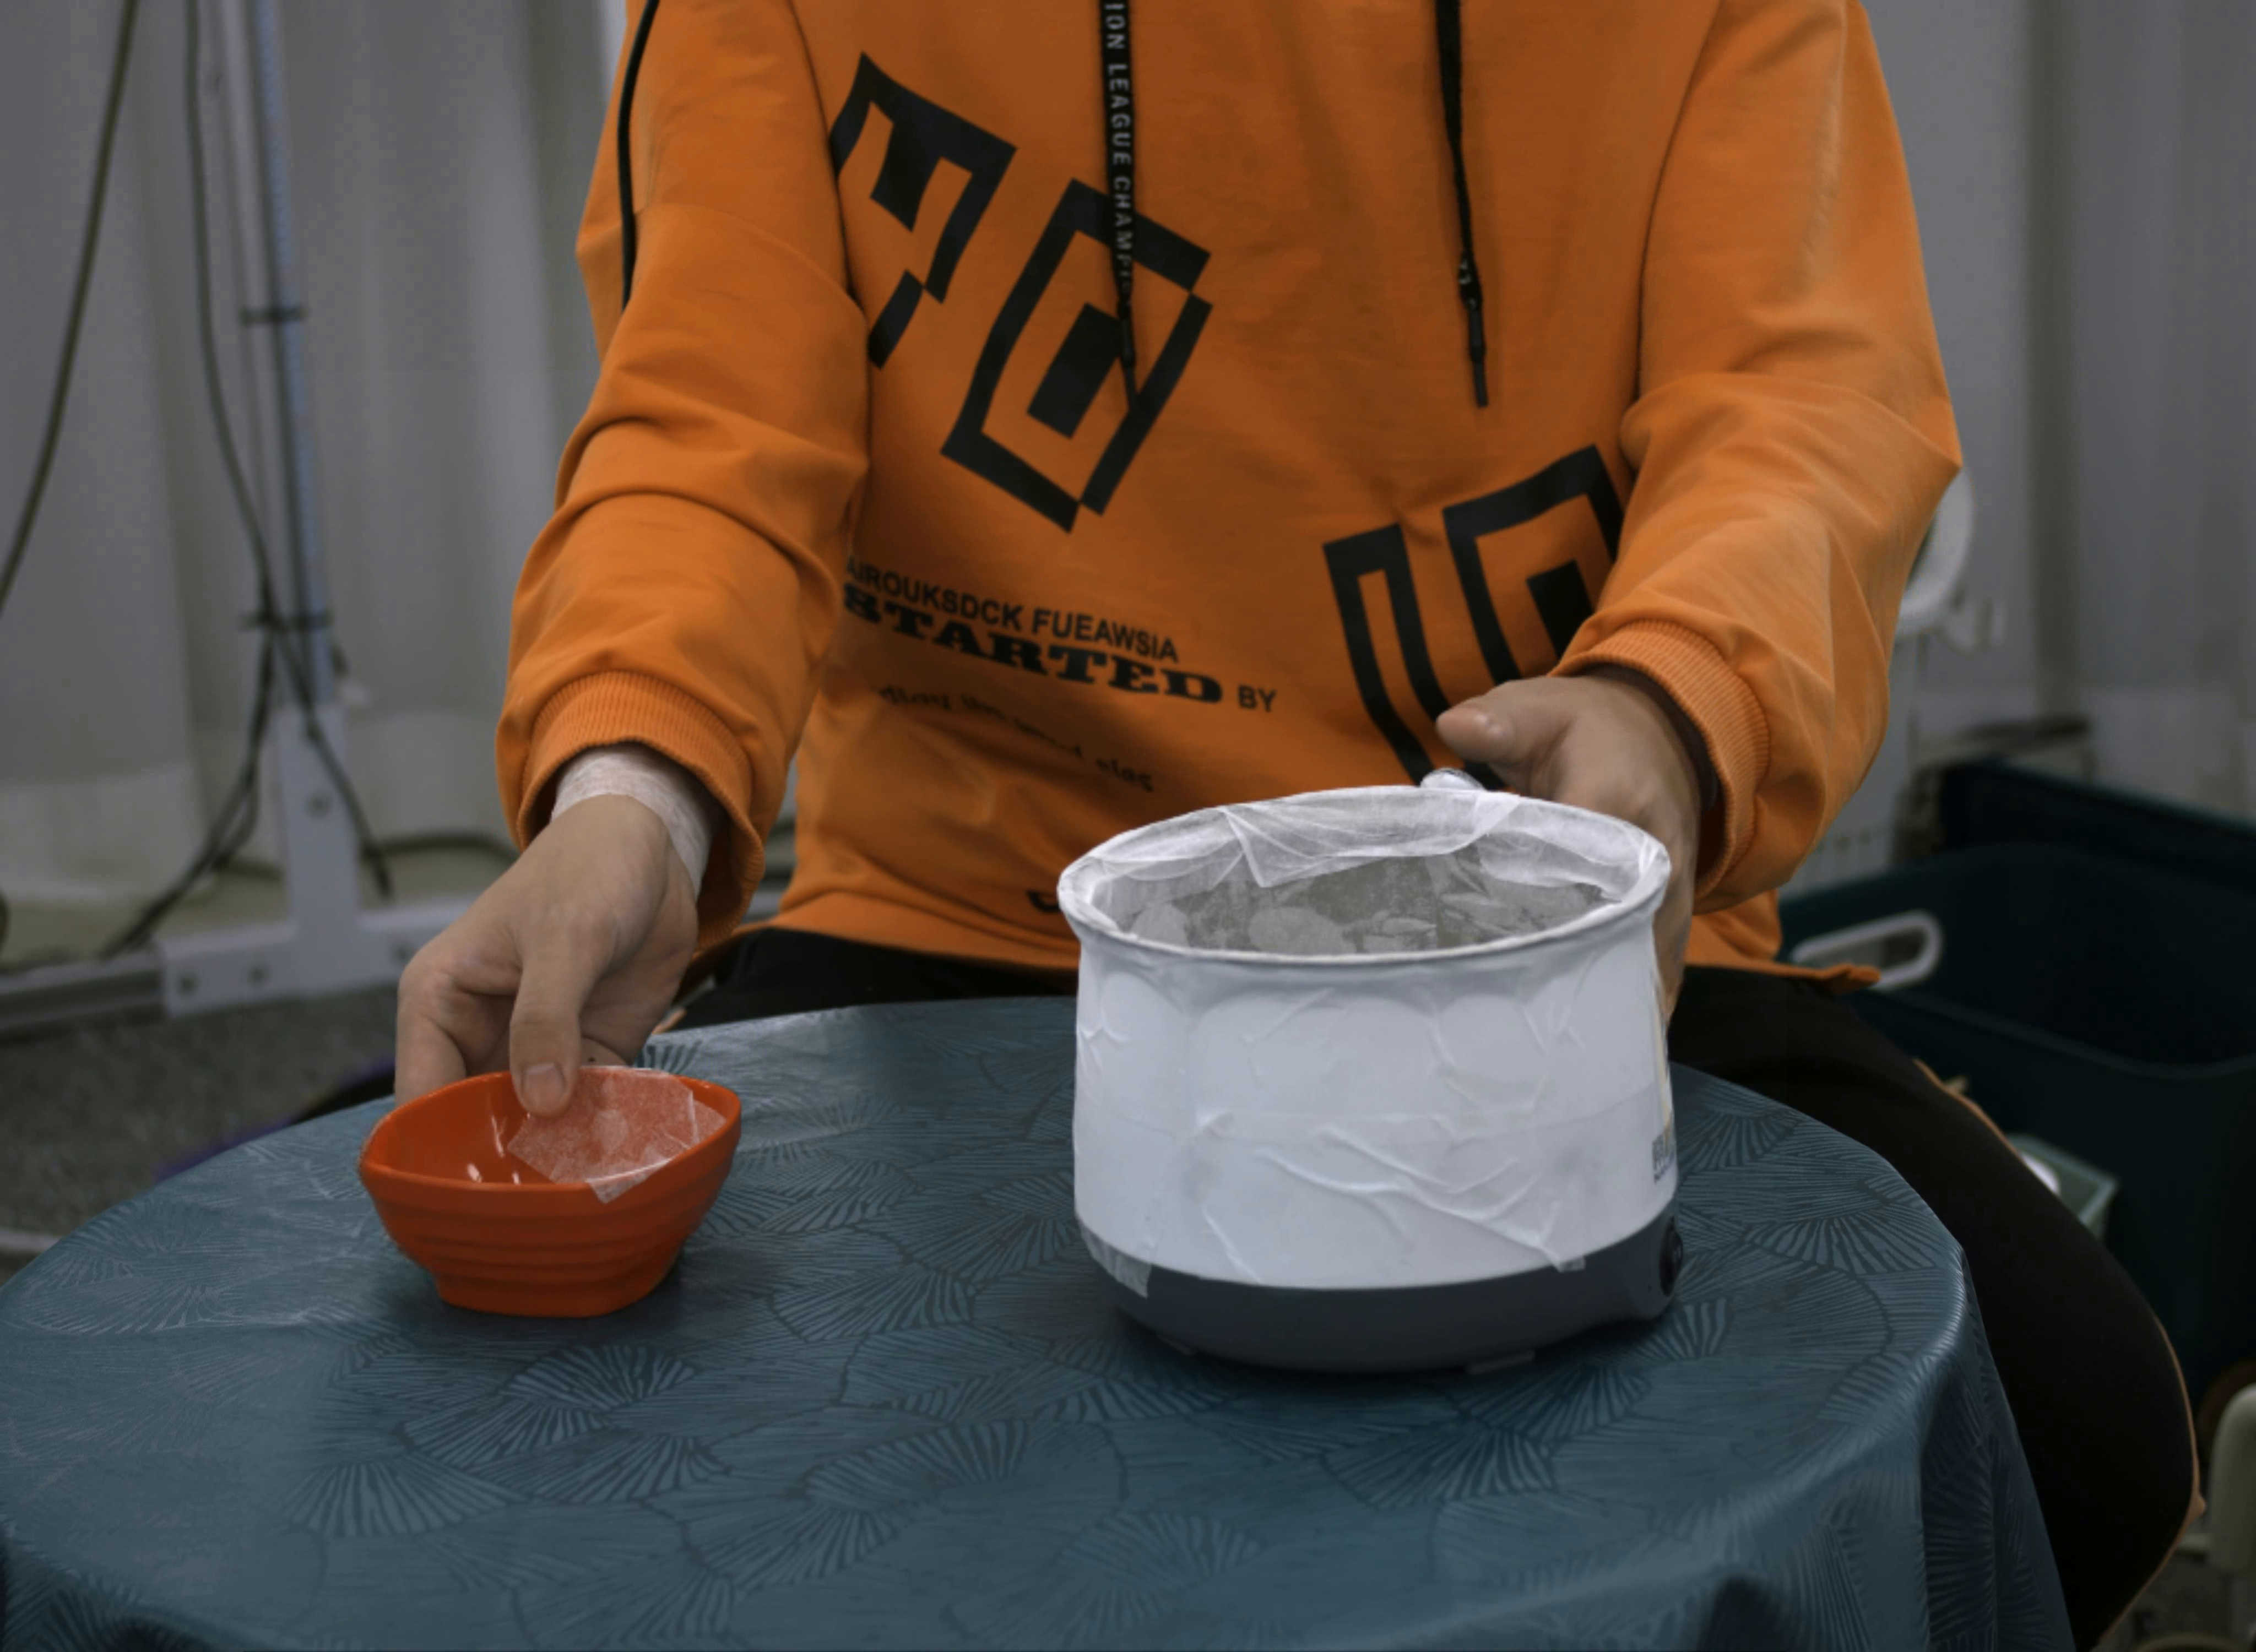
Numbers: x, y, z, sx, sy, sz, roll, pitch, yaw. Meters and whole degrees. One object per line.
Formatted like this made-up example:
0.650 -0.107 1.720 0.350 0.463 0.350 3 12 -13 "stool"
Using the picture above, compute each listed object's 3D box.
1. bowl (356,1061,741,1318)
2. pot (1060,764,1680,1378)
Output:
-0.173 0.113 1.657 0.118 0.051 0.120 -4 16 1 "bowl"
0.079 0.067 1.616 0.178 0.136 0.235 2 16 16 "pot"
